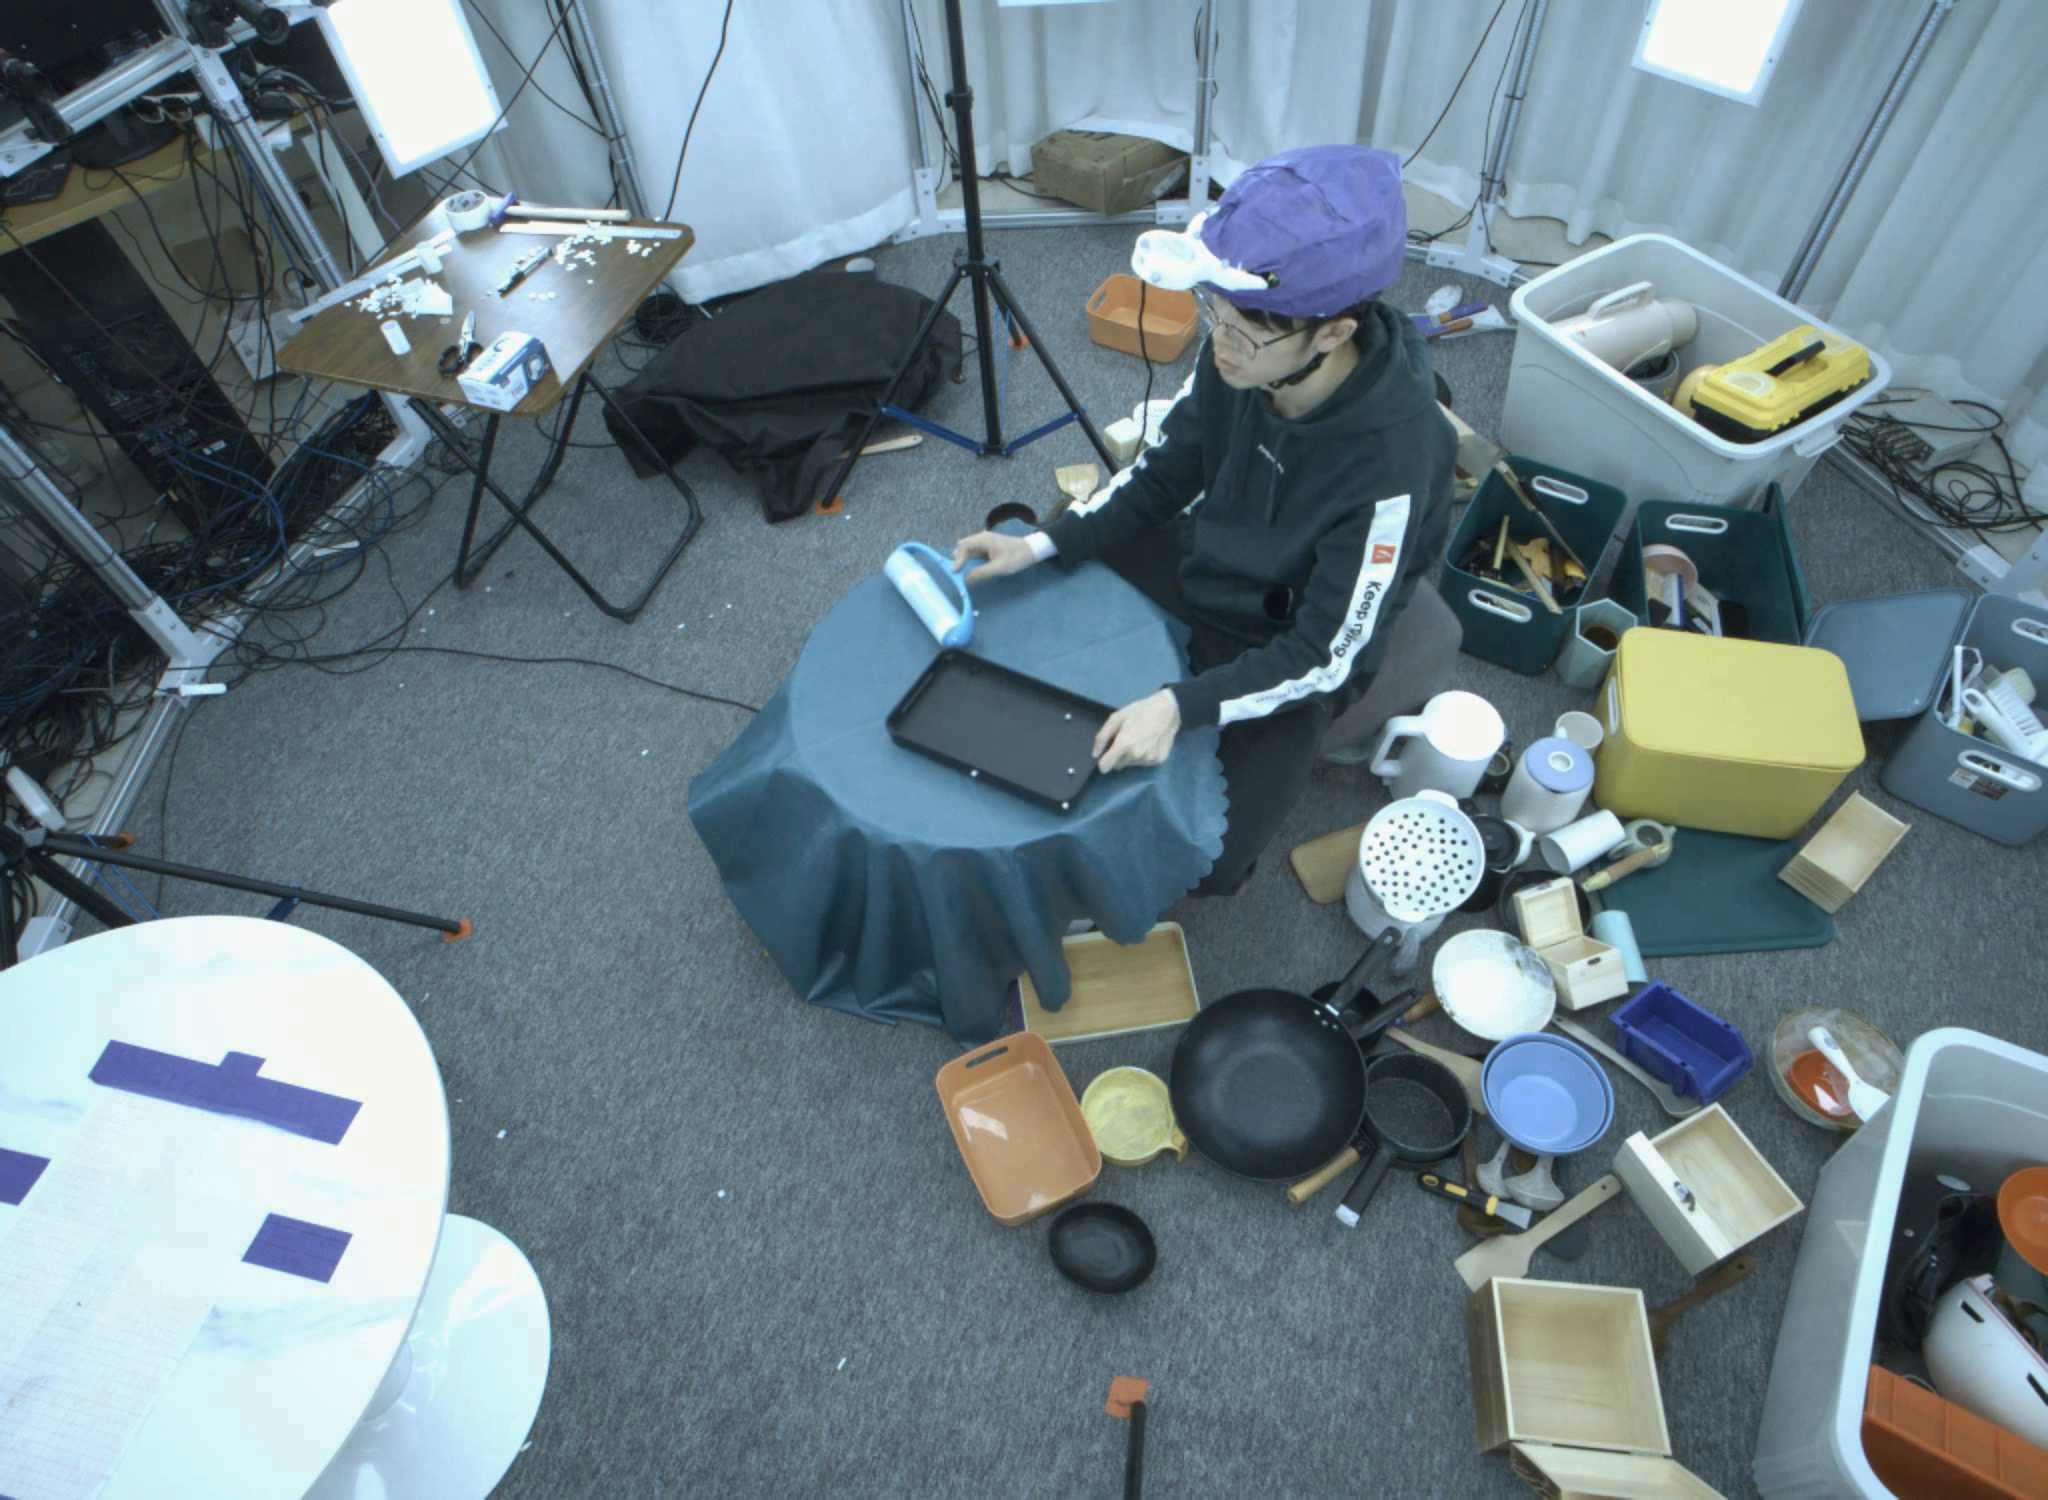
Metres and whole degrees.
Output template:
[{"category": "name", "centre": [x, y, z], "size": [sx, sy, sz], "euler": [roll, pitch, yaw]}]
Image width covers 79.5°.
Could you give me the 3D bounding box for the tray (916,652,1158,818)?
[{"category": "tray", "centre": [0.018, -0.026, 1.772], "size": [0.313, 0.037, 0.185], "euler": [22, 57, 21]}]

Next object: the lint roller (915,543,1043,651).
[{"category": "lint roller", "centre": [-0.055, -0.266, 1.932], "size": [0.181, 0.069, 0.224], "euler": [-31, 57, -13]}]
